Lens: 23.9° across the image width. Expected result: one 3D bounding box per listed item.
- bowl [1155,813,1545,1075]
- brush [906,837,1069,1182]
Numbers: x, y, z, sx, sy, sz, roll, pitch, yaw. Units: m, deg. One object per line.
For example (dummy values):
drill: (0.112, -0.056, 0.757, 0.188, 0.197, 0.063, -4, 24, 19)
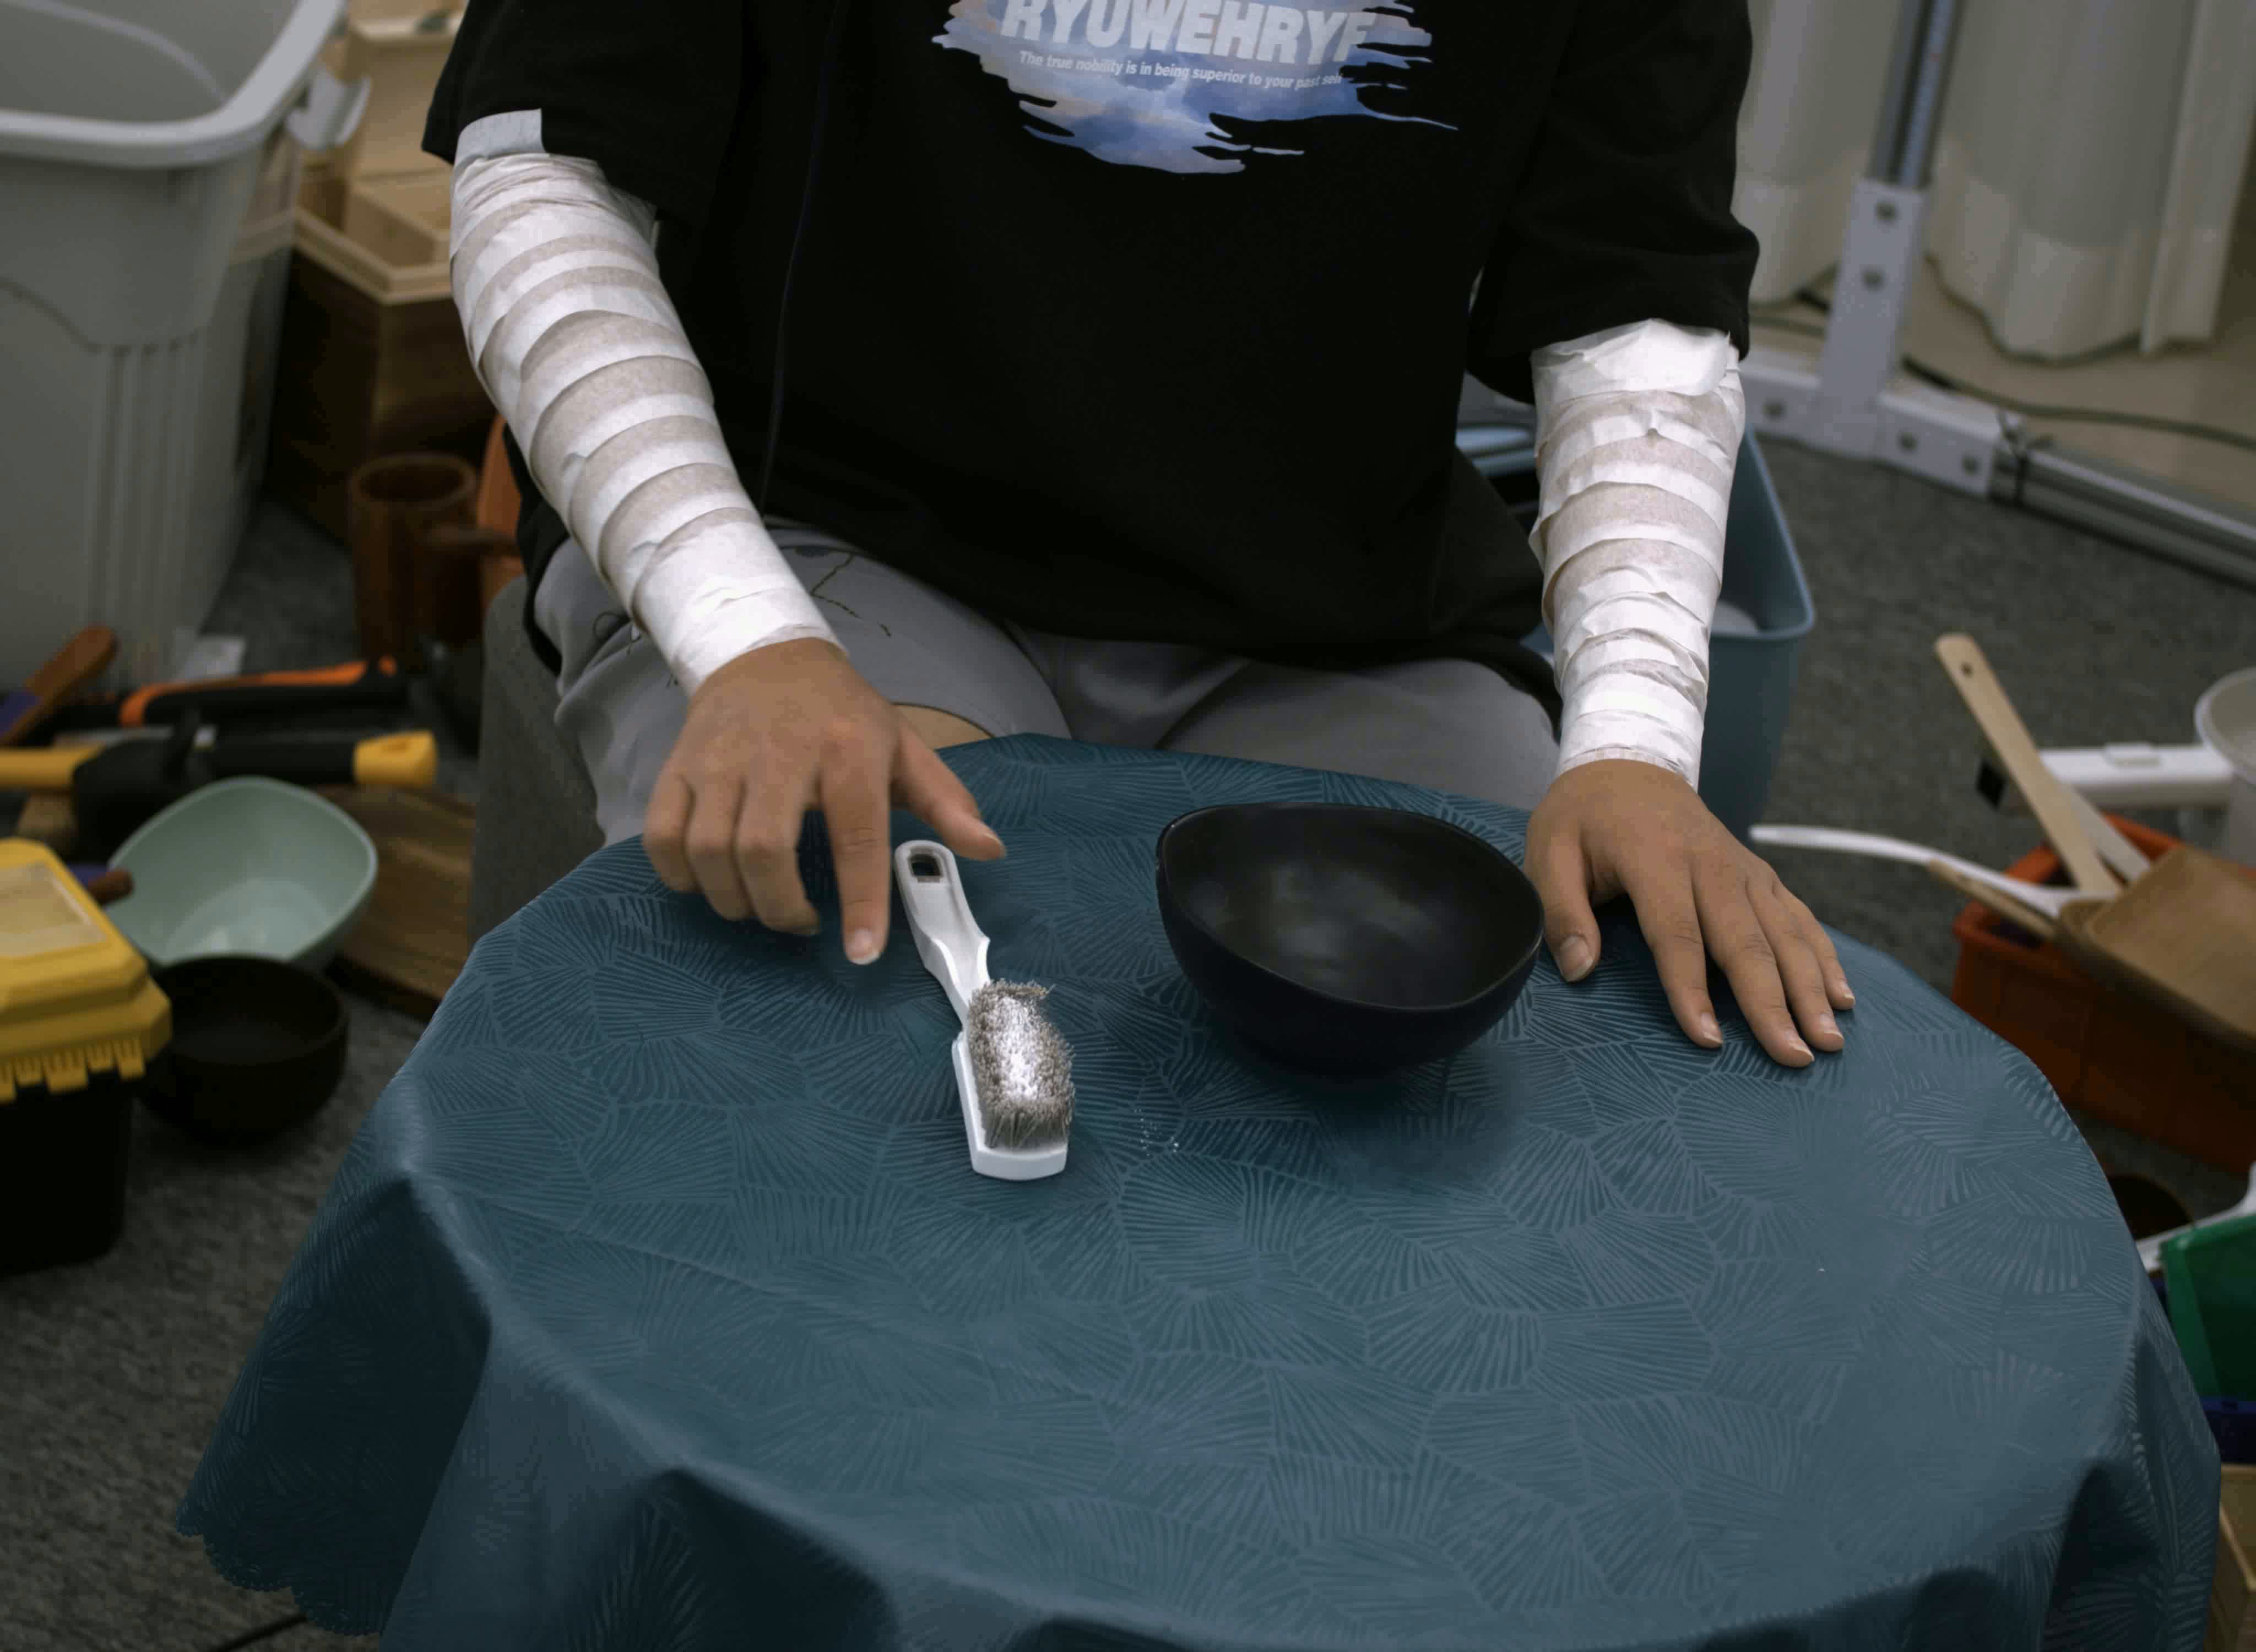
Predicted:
bowl: (0.075, 0.046, 1.903, 0.136, 0.066, 0.171, -1, 25, -14)
brush: (-0.052, 0.047, 1.888, 0.034, 0.050, 0.245, 2, 28, -11)
